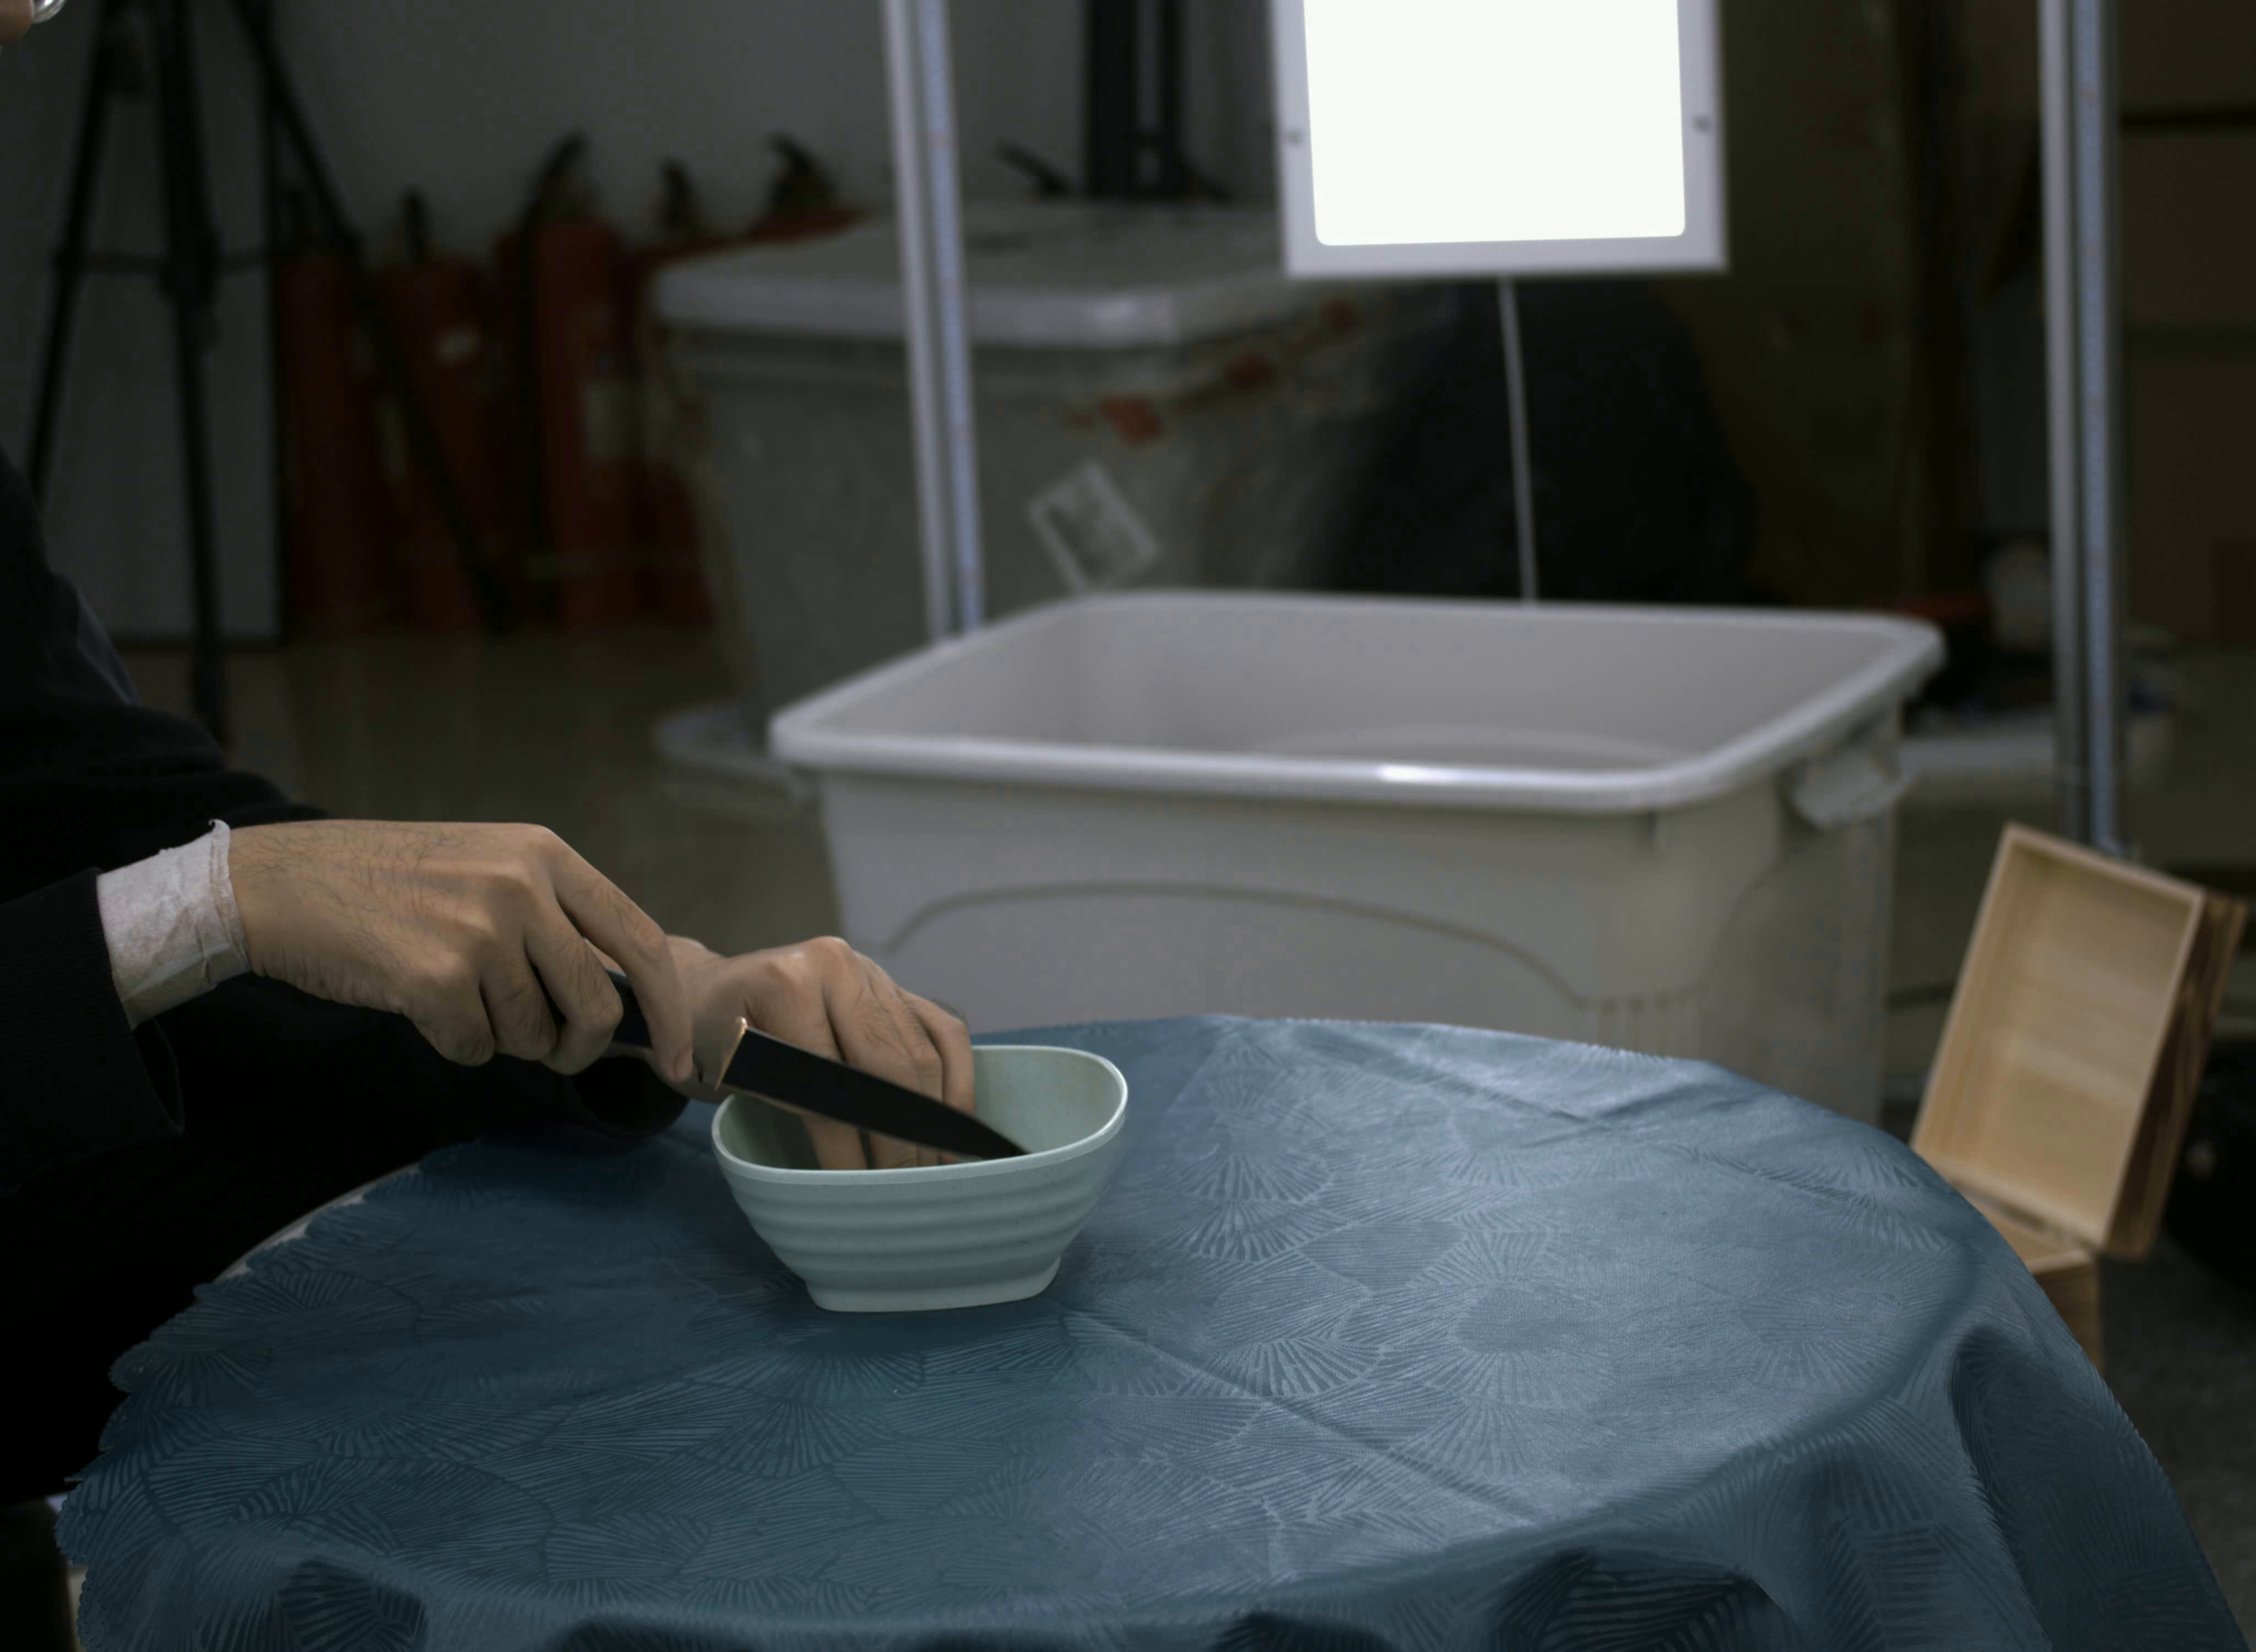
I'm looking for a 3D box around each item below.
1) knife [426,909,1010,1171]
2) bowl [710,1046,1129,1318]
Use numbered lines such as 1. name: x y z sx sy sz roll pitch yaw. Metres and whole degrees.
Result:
1. knife: -0.127 0.074 1.799 0.223 0.026 0.017 22 13 -15
2. bowl: -0.067 0.121 1.827 0.151 0.059 0.151 -5 15 0
